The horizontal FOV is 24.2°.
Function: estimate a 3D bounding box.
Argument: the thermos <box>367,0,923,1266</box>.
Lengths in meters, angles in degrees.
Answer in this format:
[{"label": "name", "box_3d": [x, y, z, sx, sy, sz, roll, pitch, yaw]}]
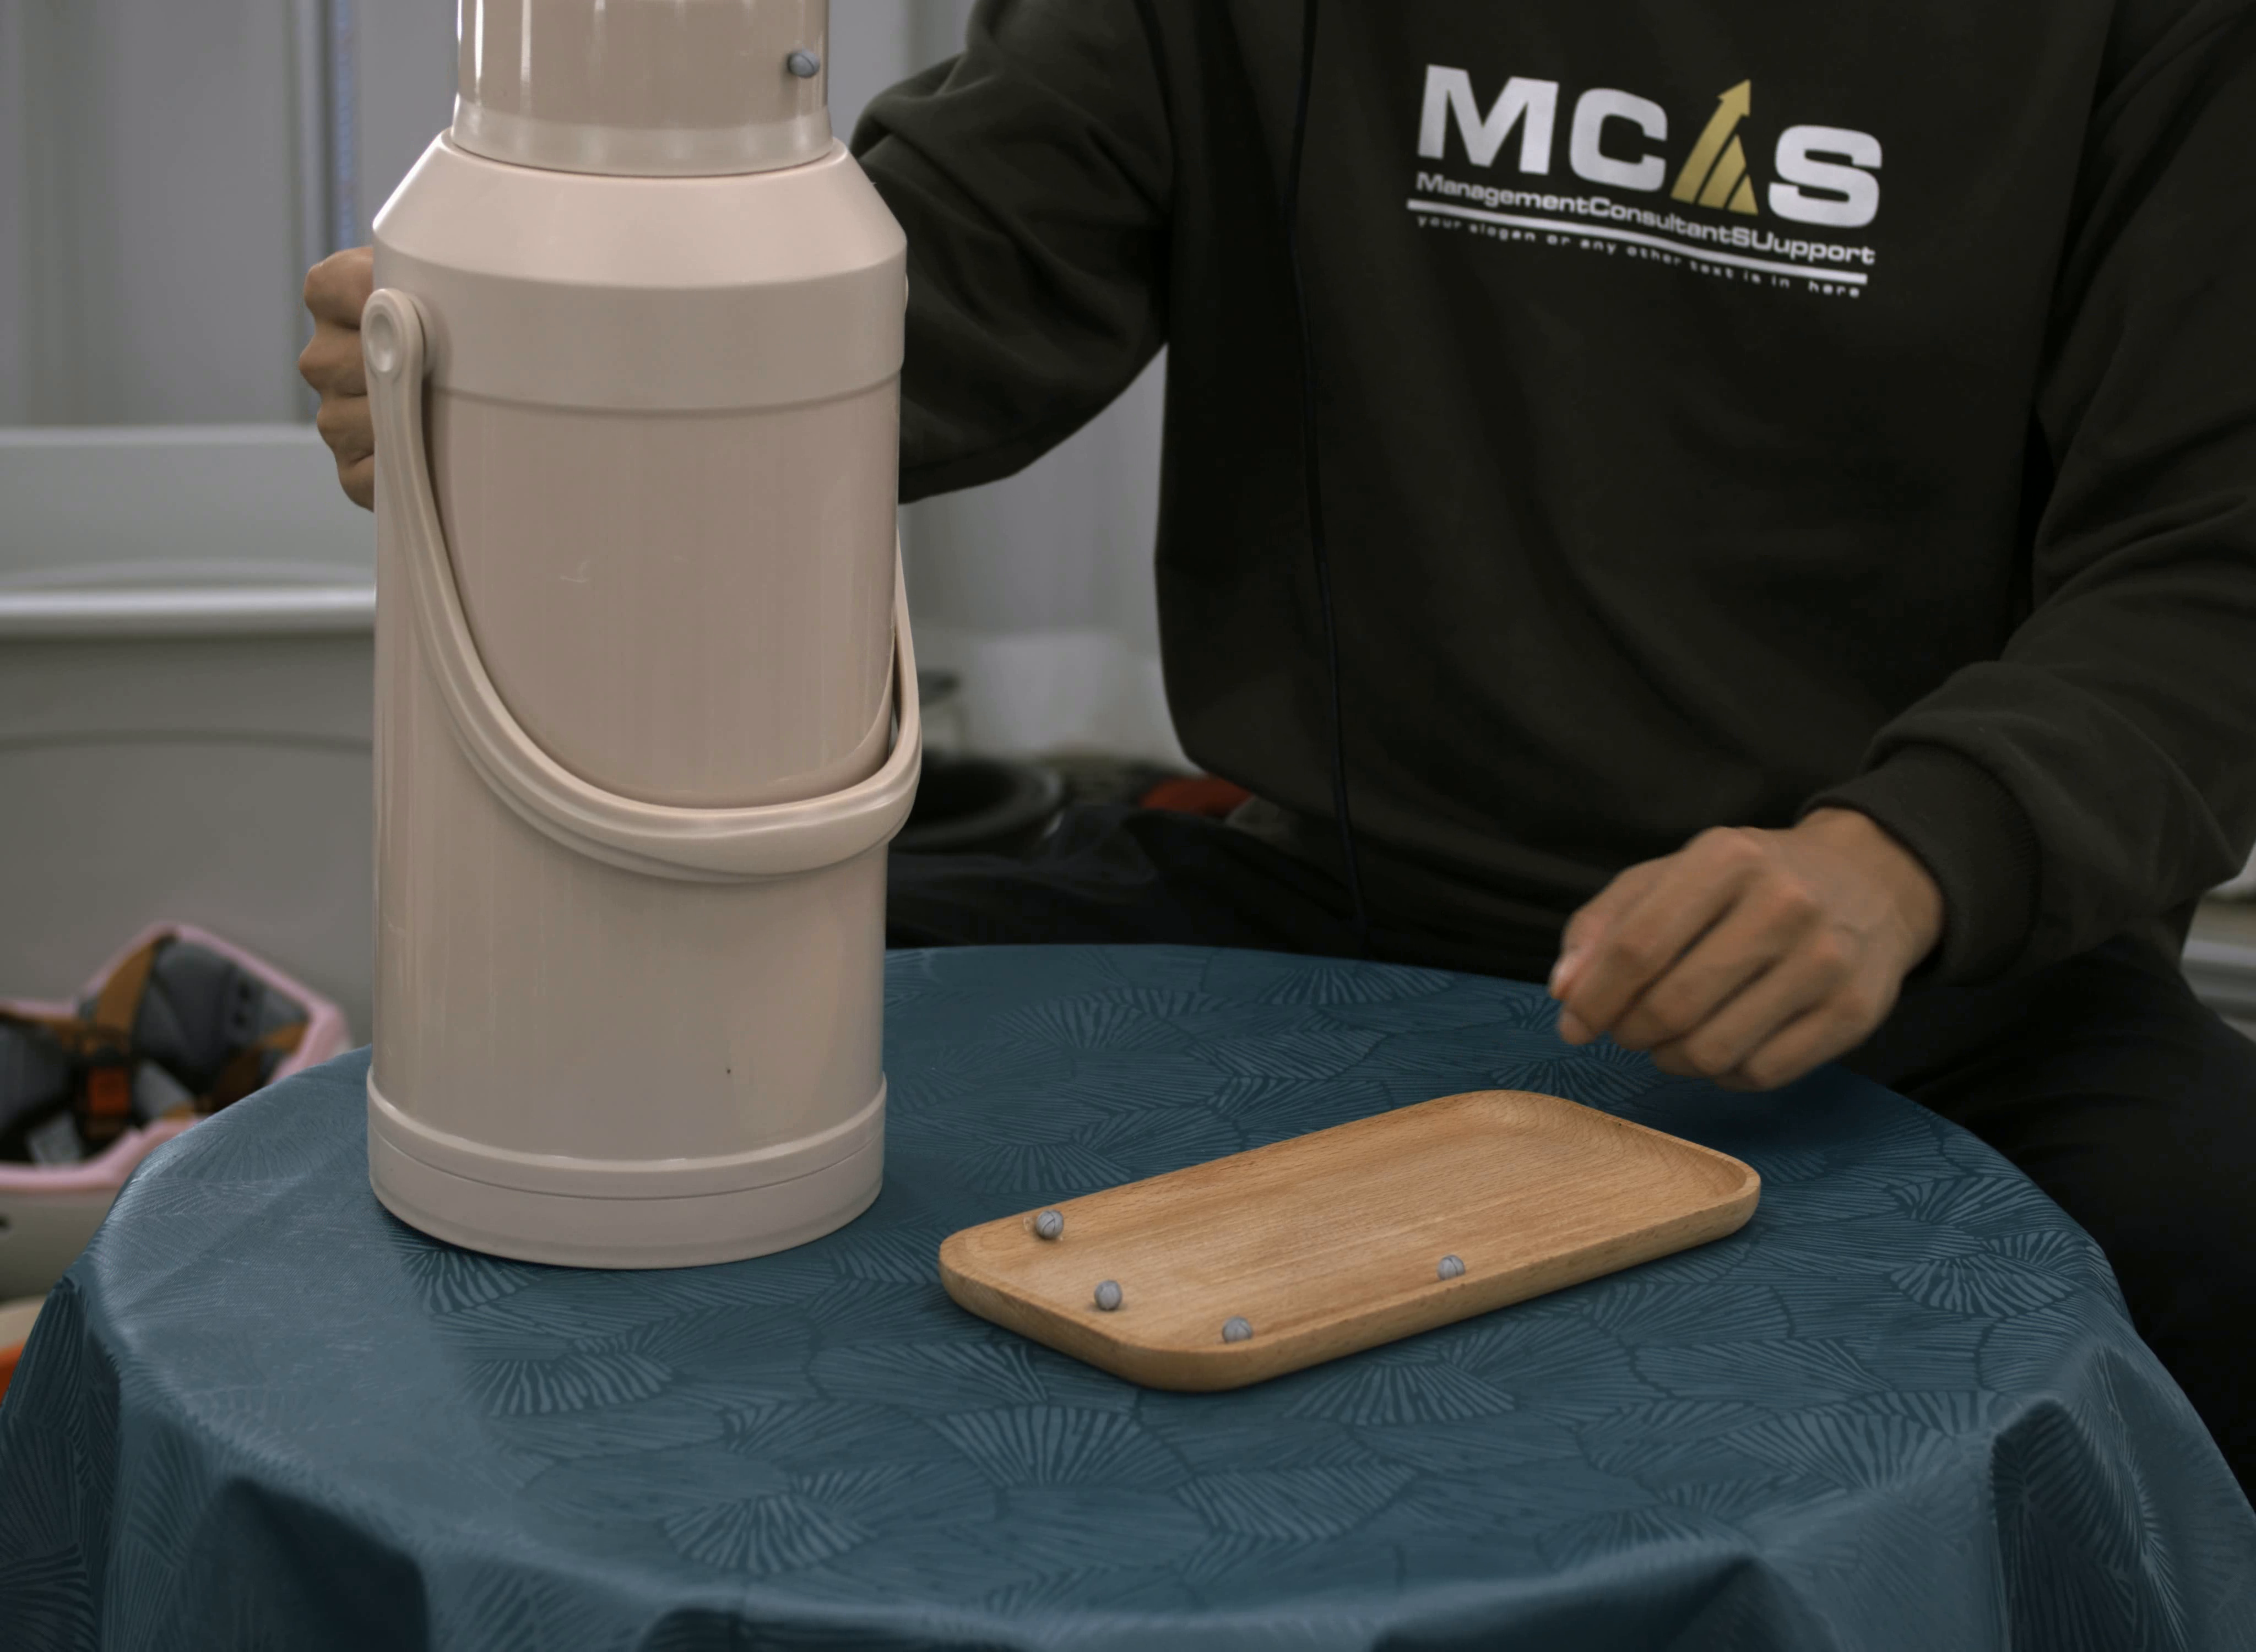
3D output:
[{"label": "thermos", "box_3d": [-0.152, -0.086, 1.578, 0.176, 0.410, 0.204, -13, 24, -37]}]

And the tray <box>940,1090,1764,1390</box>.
[{"label": "tray", "box_3d": [0.069, 0.121, 1.573, 0.252, 0.023, 0.129, -11, 22, -39]}]
